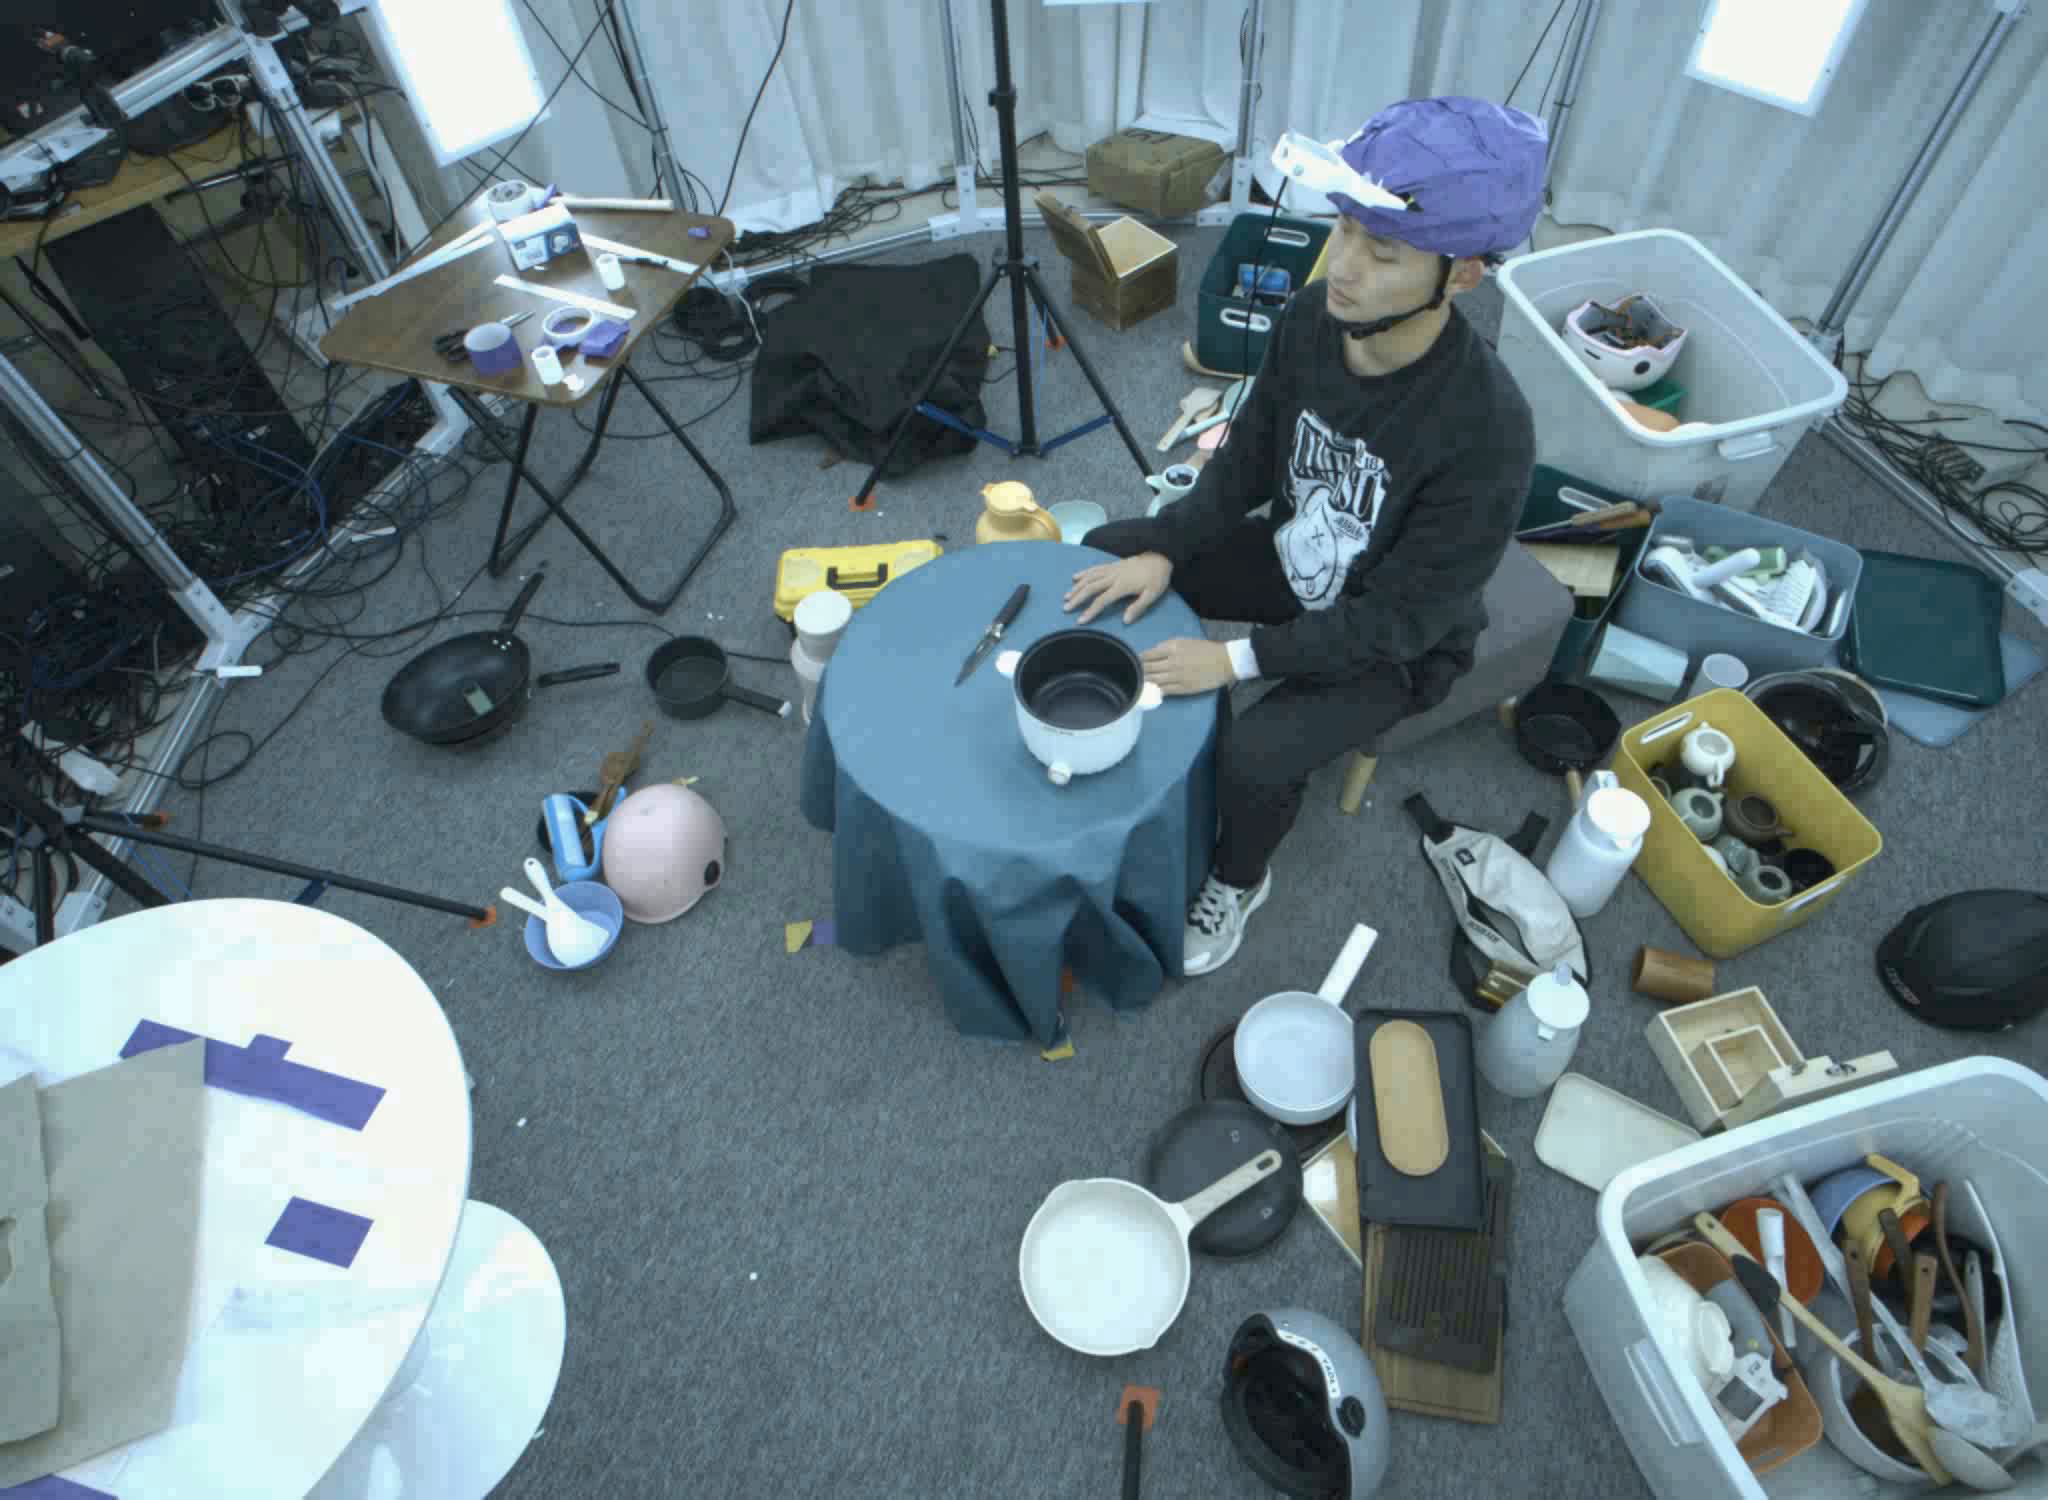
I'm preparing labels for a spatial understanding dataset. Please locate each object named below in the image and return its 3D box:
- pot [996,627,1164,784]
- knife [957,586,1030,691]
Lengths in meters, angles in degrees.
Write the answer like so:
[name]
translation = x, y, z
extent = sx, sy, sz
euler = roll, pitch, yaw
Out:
[pot]
translation = 0.078, -0.058, 1.736
extent = 0.238, 0.144, 0.190
euler = 13, 53, 13
[knife]
translation = -0.051, -0.175, 1.905
extent = 0.026, 0.017, 0.226
euler = 31, 61, 5
